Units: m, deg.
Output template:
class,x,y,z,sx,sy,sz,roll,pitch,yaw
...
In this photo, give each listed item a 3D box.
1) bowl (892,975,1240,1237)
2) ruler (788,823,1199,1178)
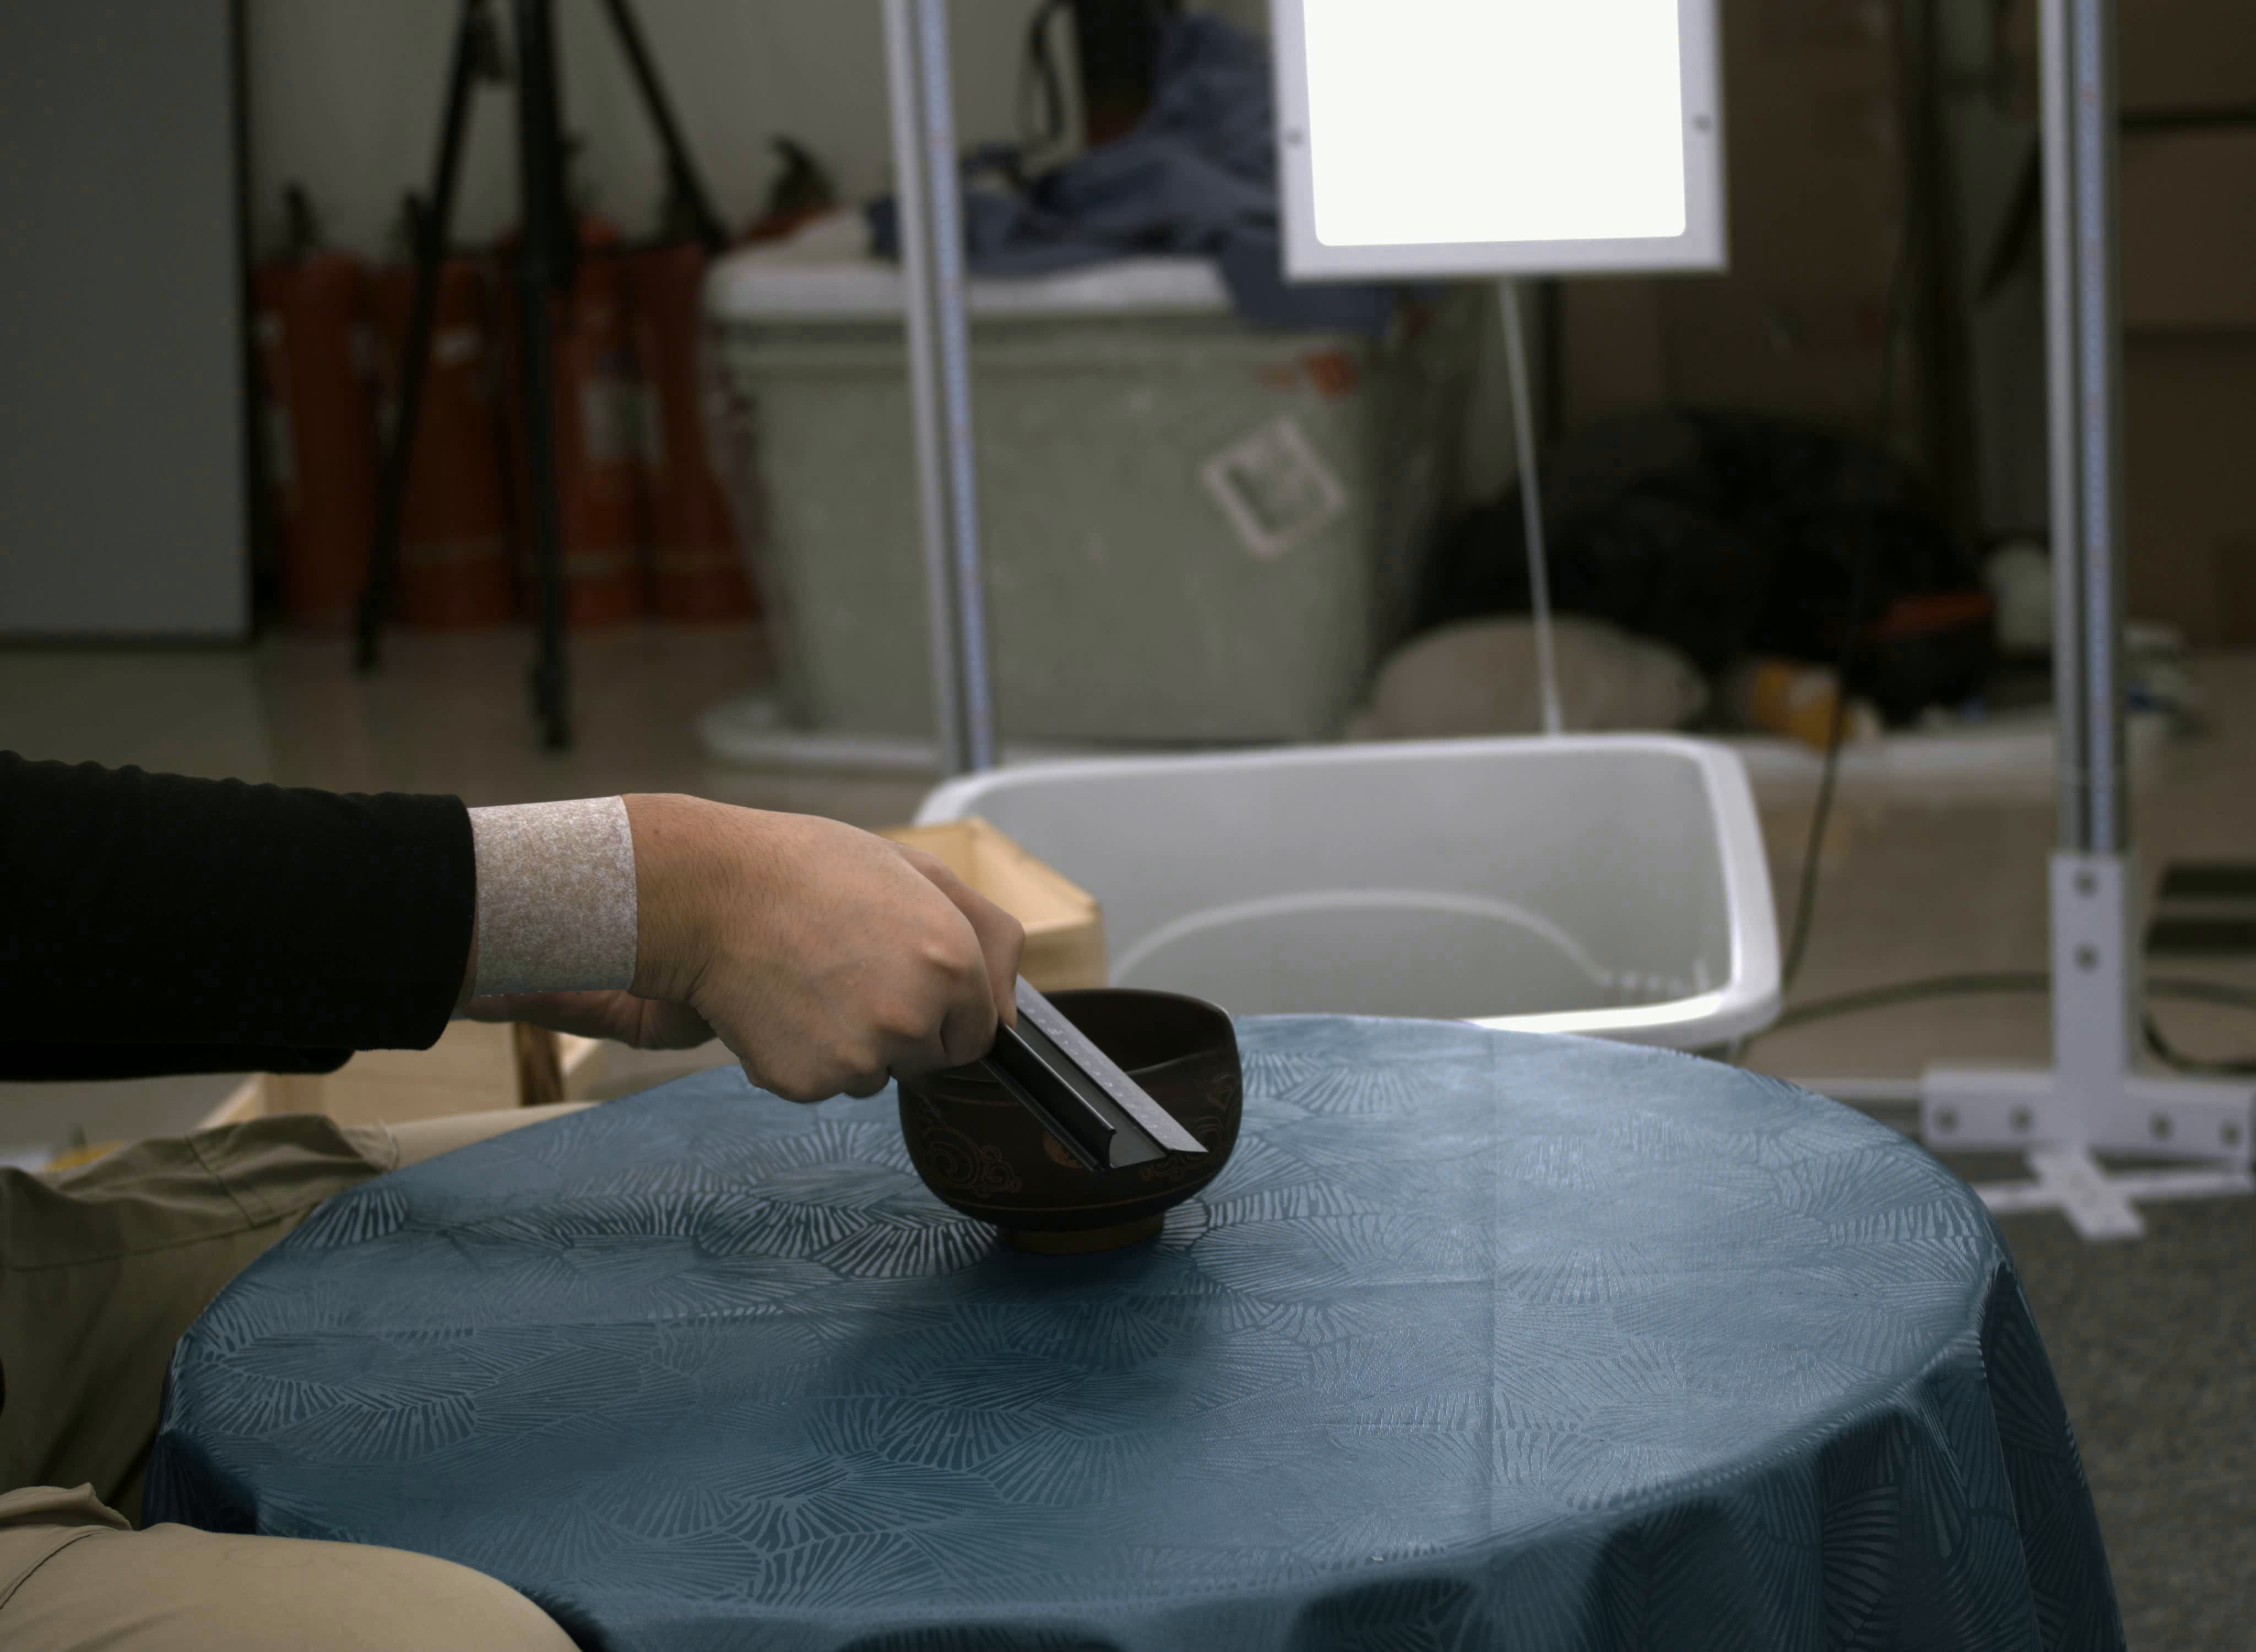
class,x,y,z,sx,sy,sz,roll,pitch,yaw
bowl,-0.021,0.097,1.854,0.117,0.070,0.118,1,13,-2
ruler,-0.049,0.050,1.823,0.038,0.017,0.316,-11,21,-18
